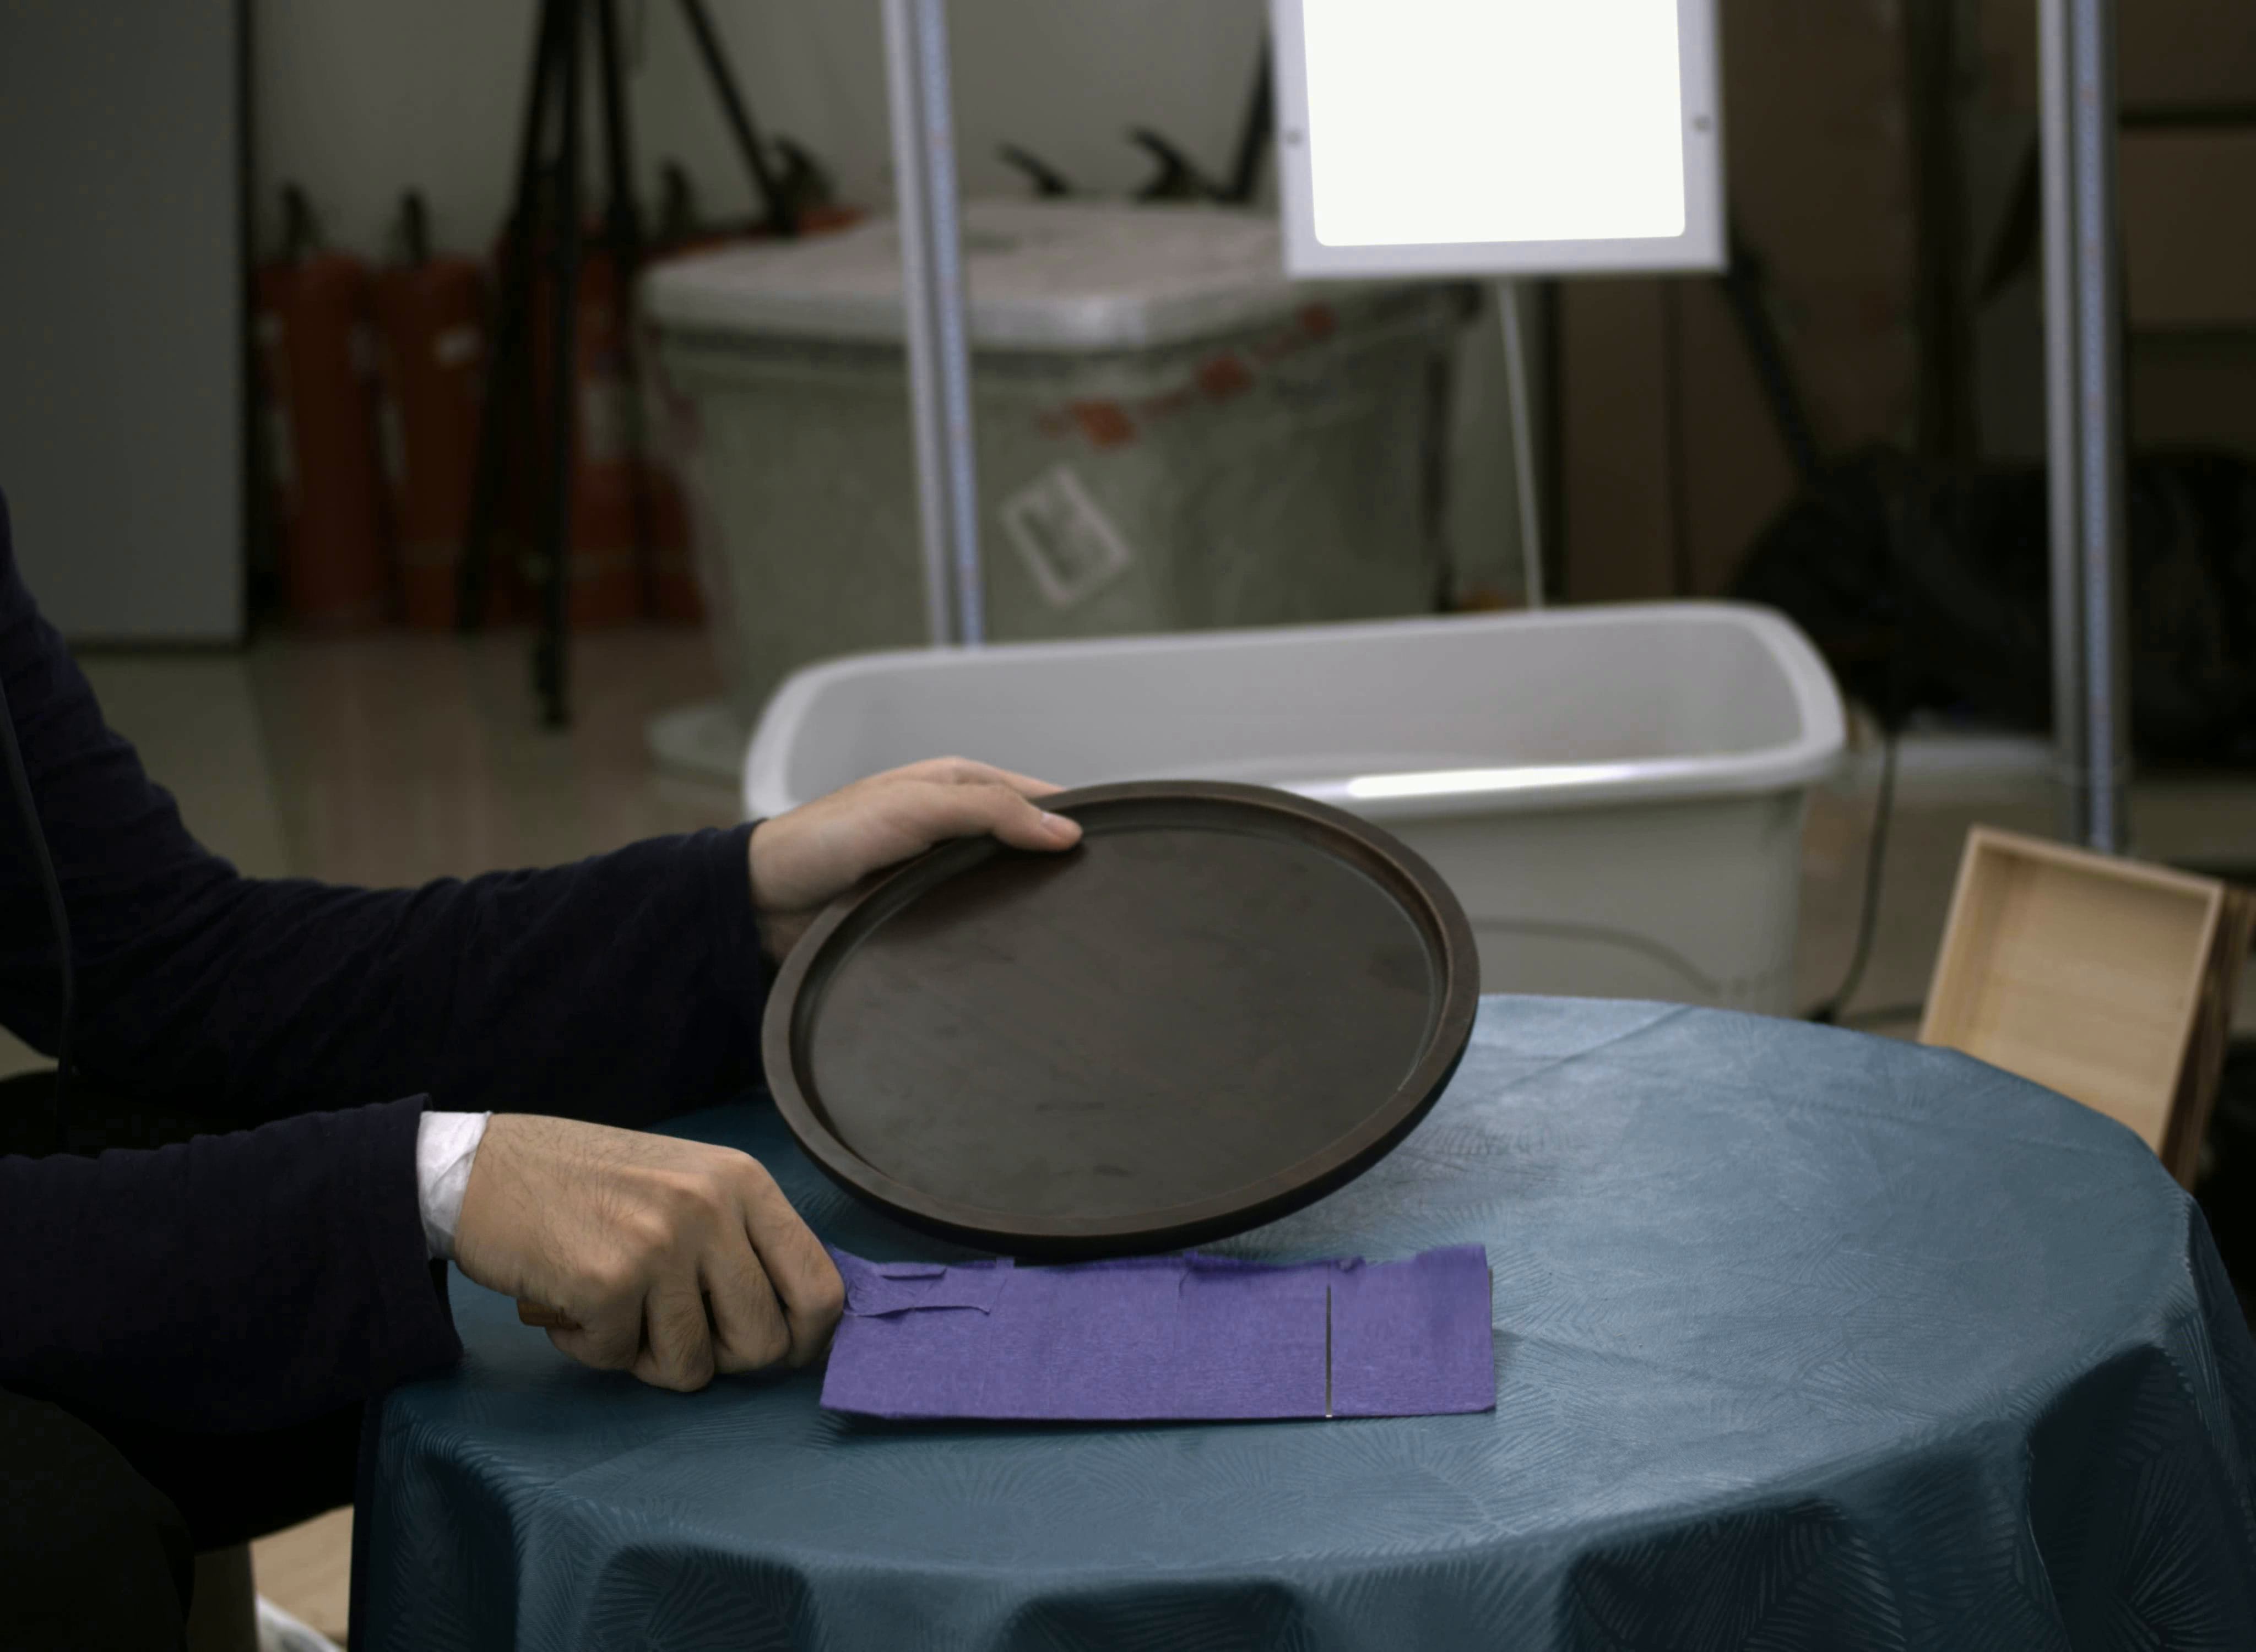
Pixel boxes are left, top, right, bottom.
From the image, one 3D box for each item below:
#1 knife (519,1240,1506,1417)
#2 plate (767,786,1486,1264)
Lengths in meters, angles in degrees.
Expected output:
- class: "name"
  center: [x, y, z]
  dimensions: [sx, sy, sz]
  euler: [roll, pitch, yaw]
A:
- class: "knife"
  center: [-0.040, 0.155, 1.716]
  dimensions: [0.316, 0.032, 0.103]
  euler: [-3, 22, 8]
- class: "plate"
  center: [0.000, 0.067, 1.919]
  dimensions: [0.255, 0.029, 0.254]
  euler: [-7, 37, 4]
